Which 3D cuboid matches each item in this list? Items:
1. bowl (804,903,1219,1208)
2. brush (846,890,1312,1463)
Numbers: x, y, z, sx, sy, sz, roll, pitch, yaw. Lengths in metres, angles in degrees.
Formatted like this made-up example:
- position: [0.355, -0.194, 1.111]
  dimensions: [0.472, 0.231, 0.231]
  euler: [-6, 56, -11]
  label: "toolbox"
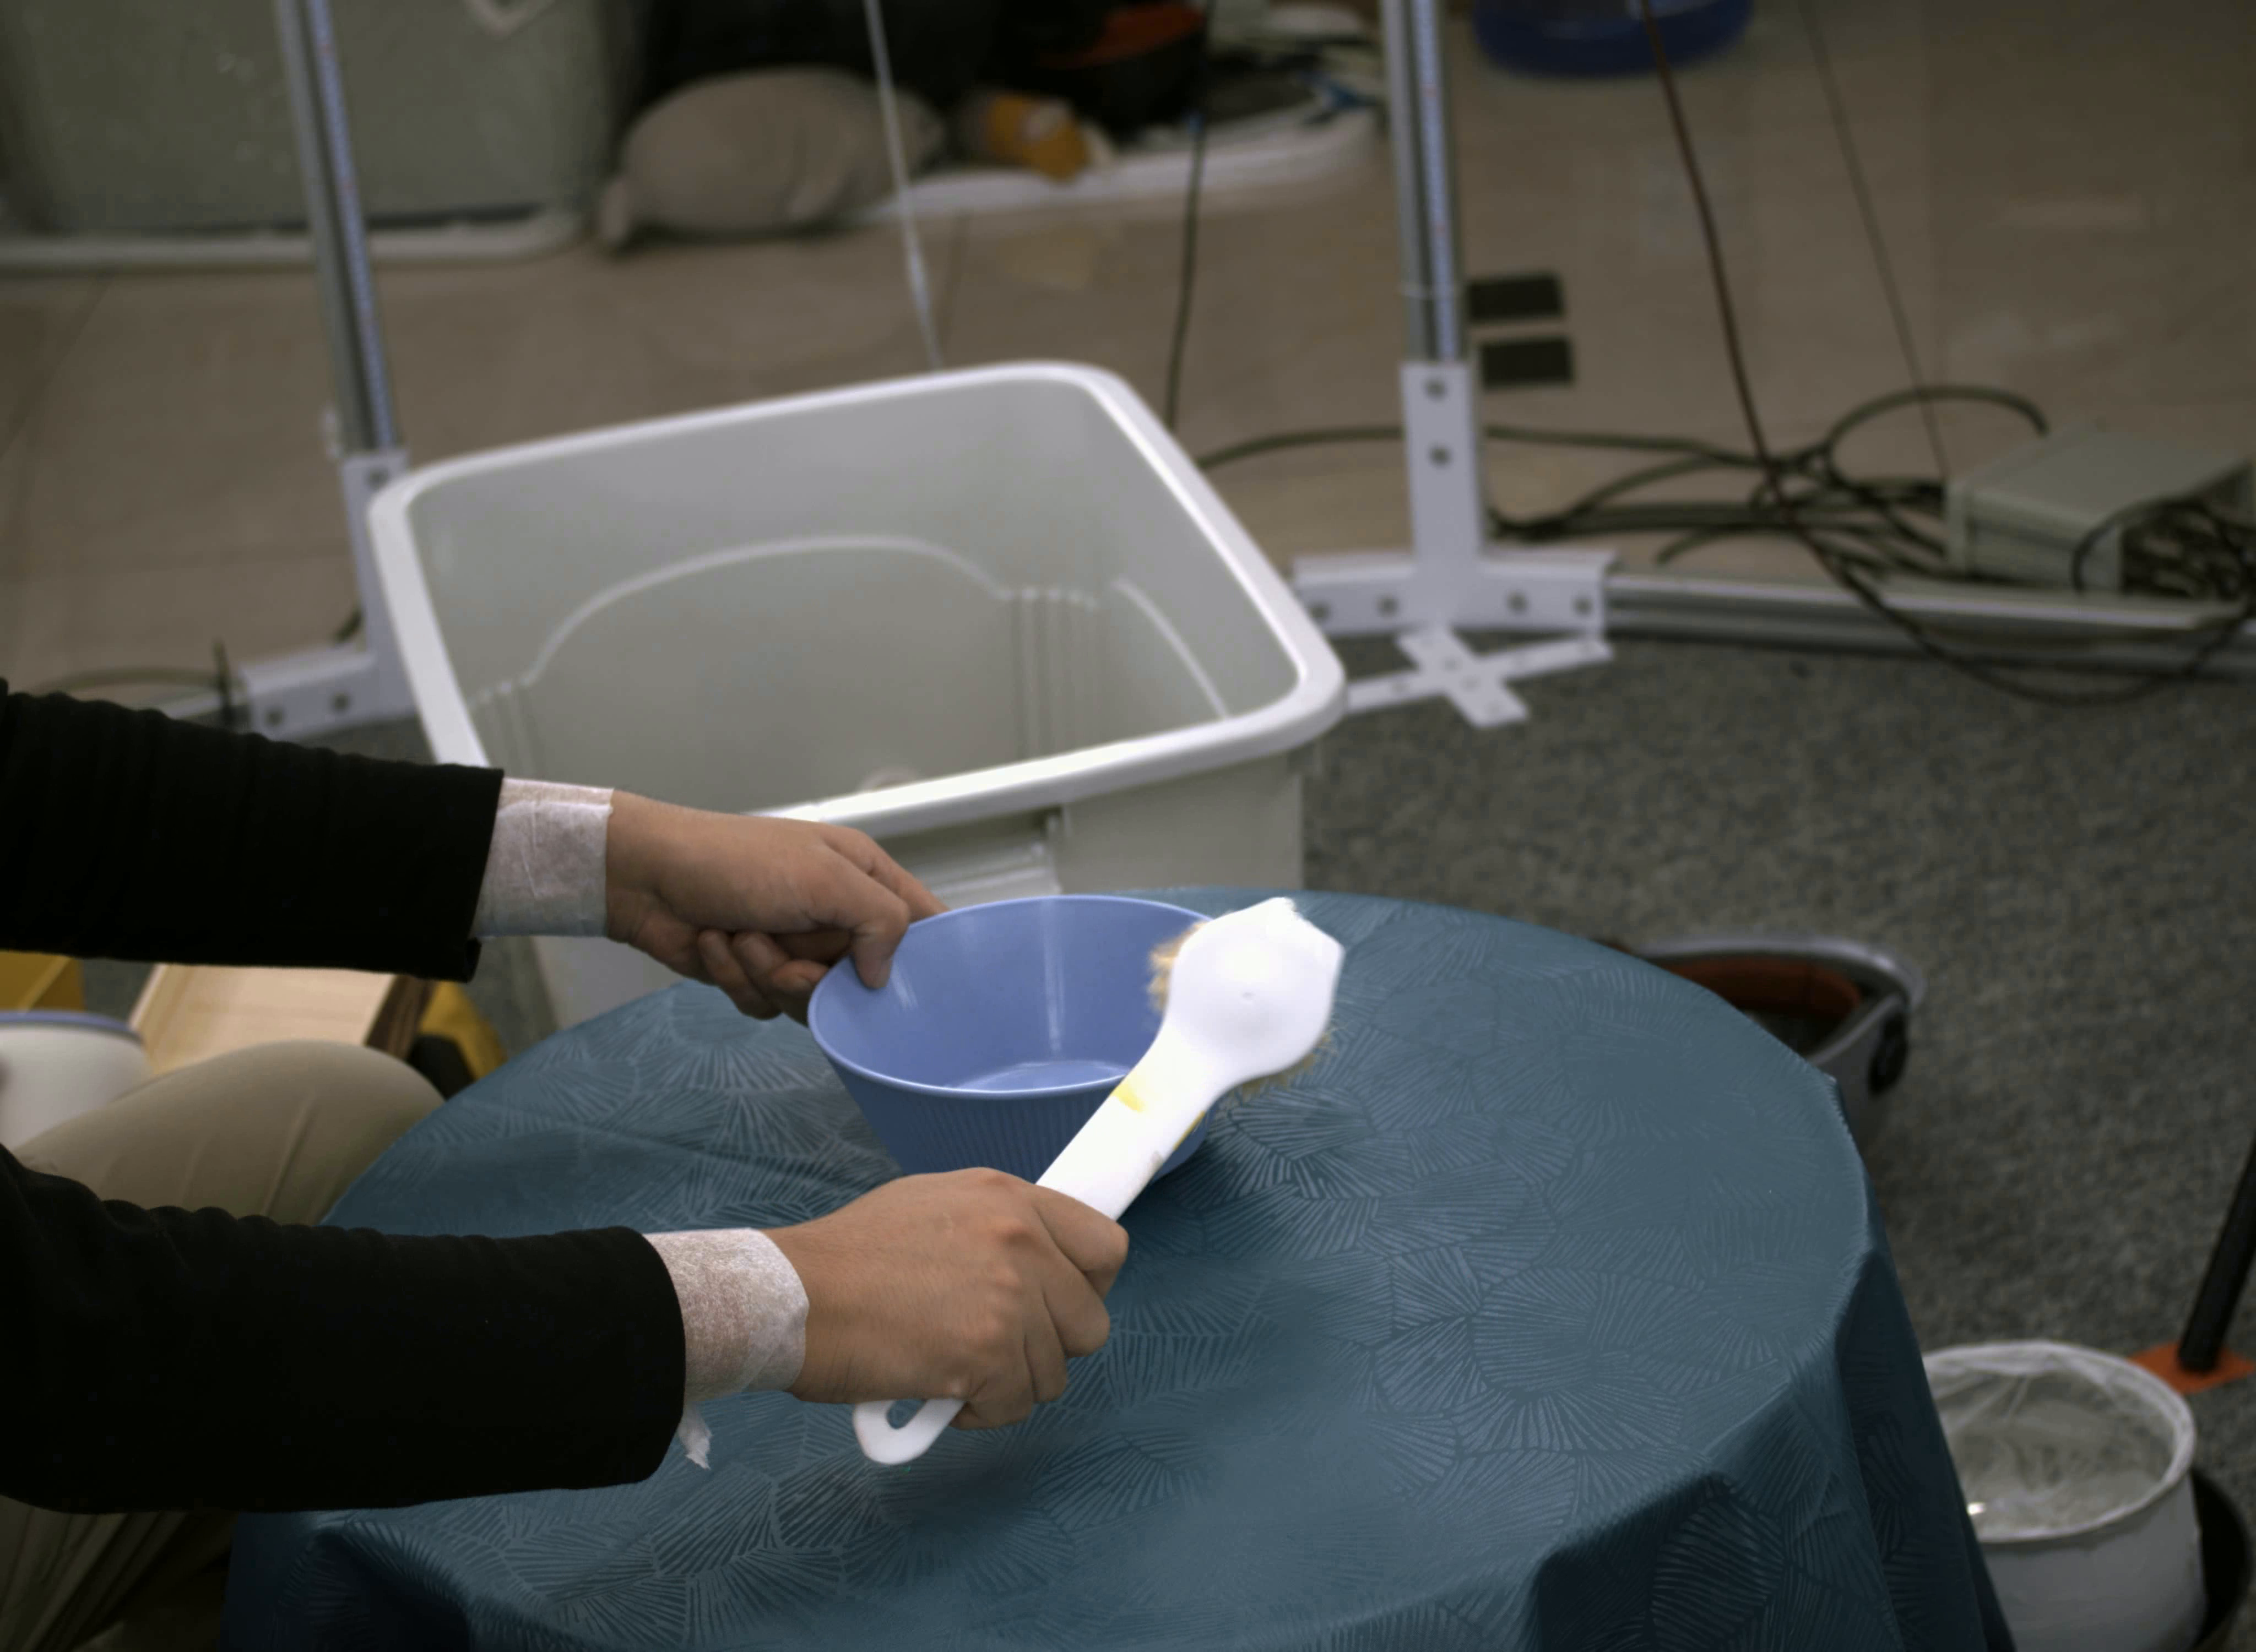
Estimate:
- position: [-0.034, 0.092, 2.166]
  dimensions: [0.176, 0.071, 0.173]
  euler: [-4, 23, 2]
  label: "bowl"
- position: [-0.021, 0.128, 1.995]
  dimensions: [0.068, 0.057, 0.263]
  euler: [34, 64, 7]
  label: "brush"
